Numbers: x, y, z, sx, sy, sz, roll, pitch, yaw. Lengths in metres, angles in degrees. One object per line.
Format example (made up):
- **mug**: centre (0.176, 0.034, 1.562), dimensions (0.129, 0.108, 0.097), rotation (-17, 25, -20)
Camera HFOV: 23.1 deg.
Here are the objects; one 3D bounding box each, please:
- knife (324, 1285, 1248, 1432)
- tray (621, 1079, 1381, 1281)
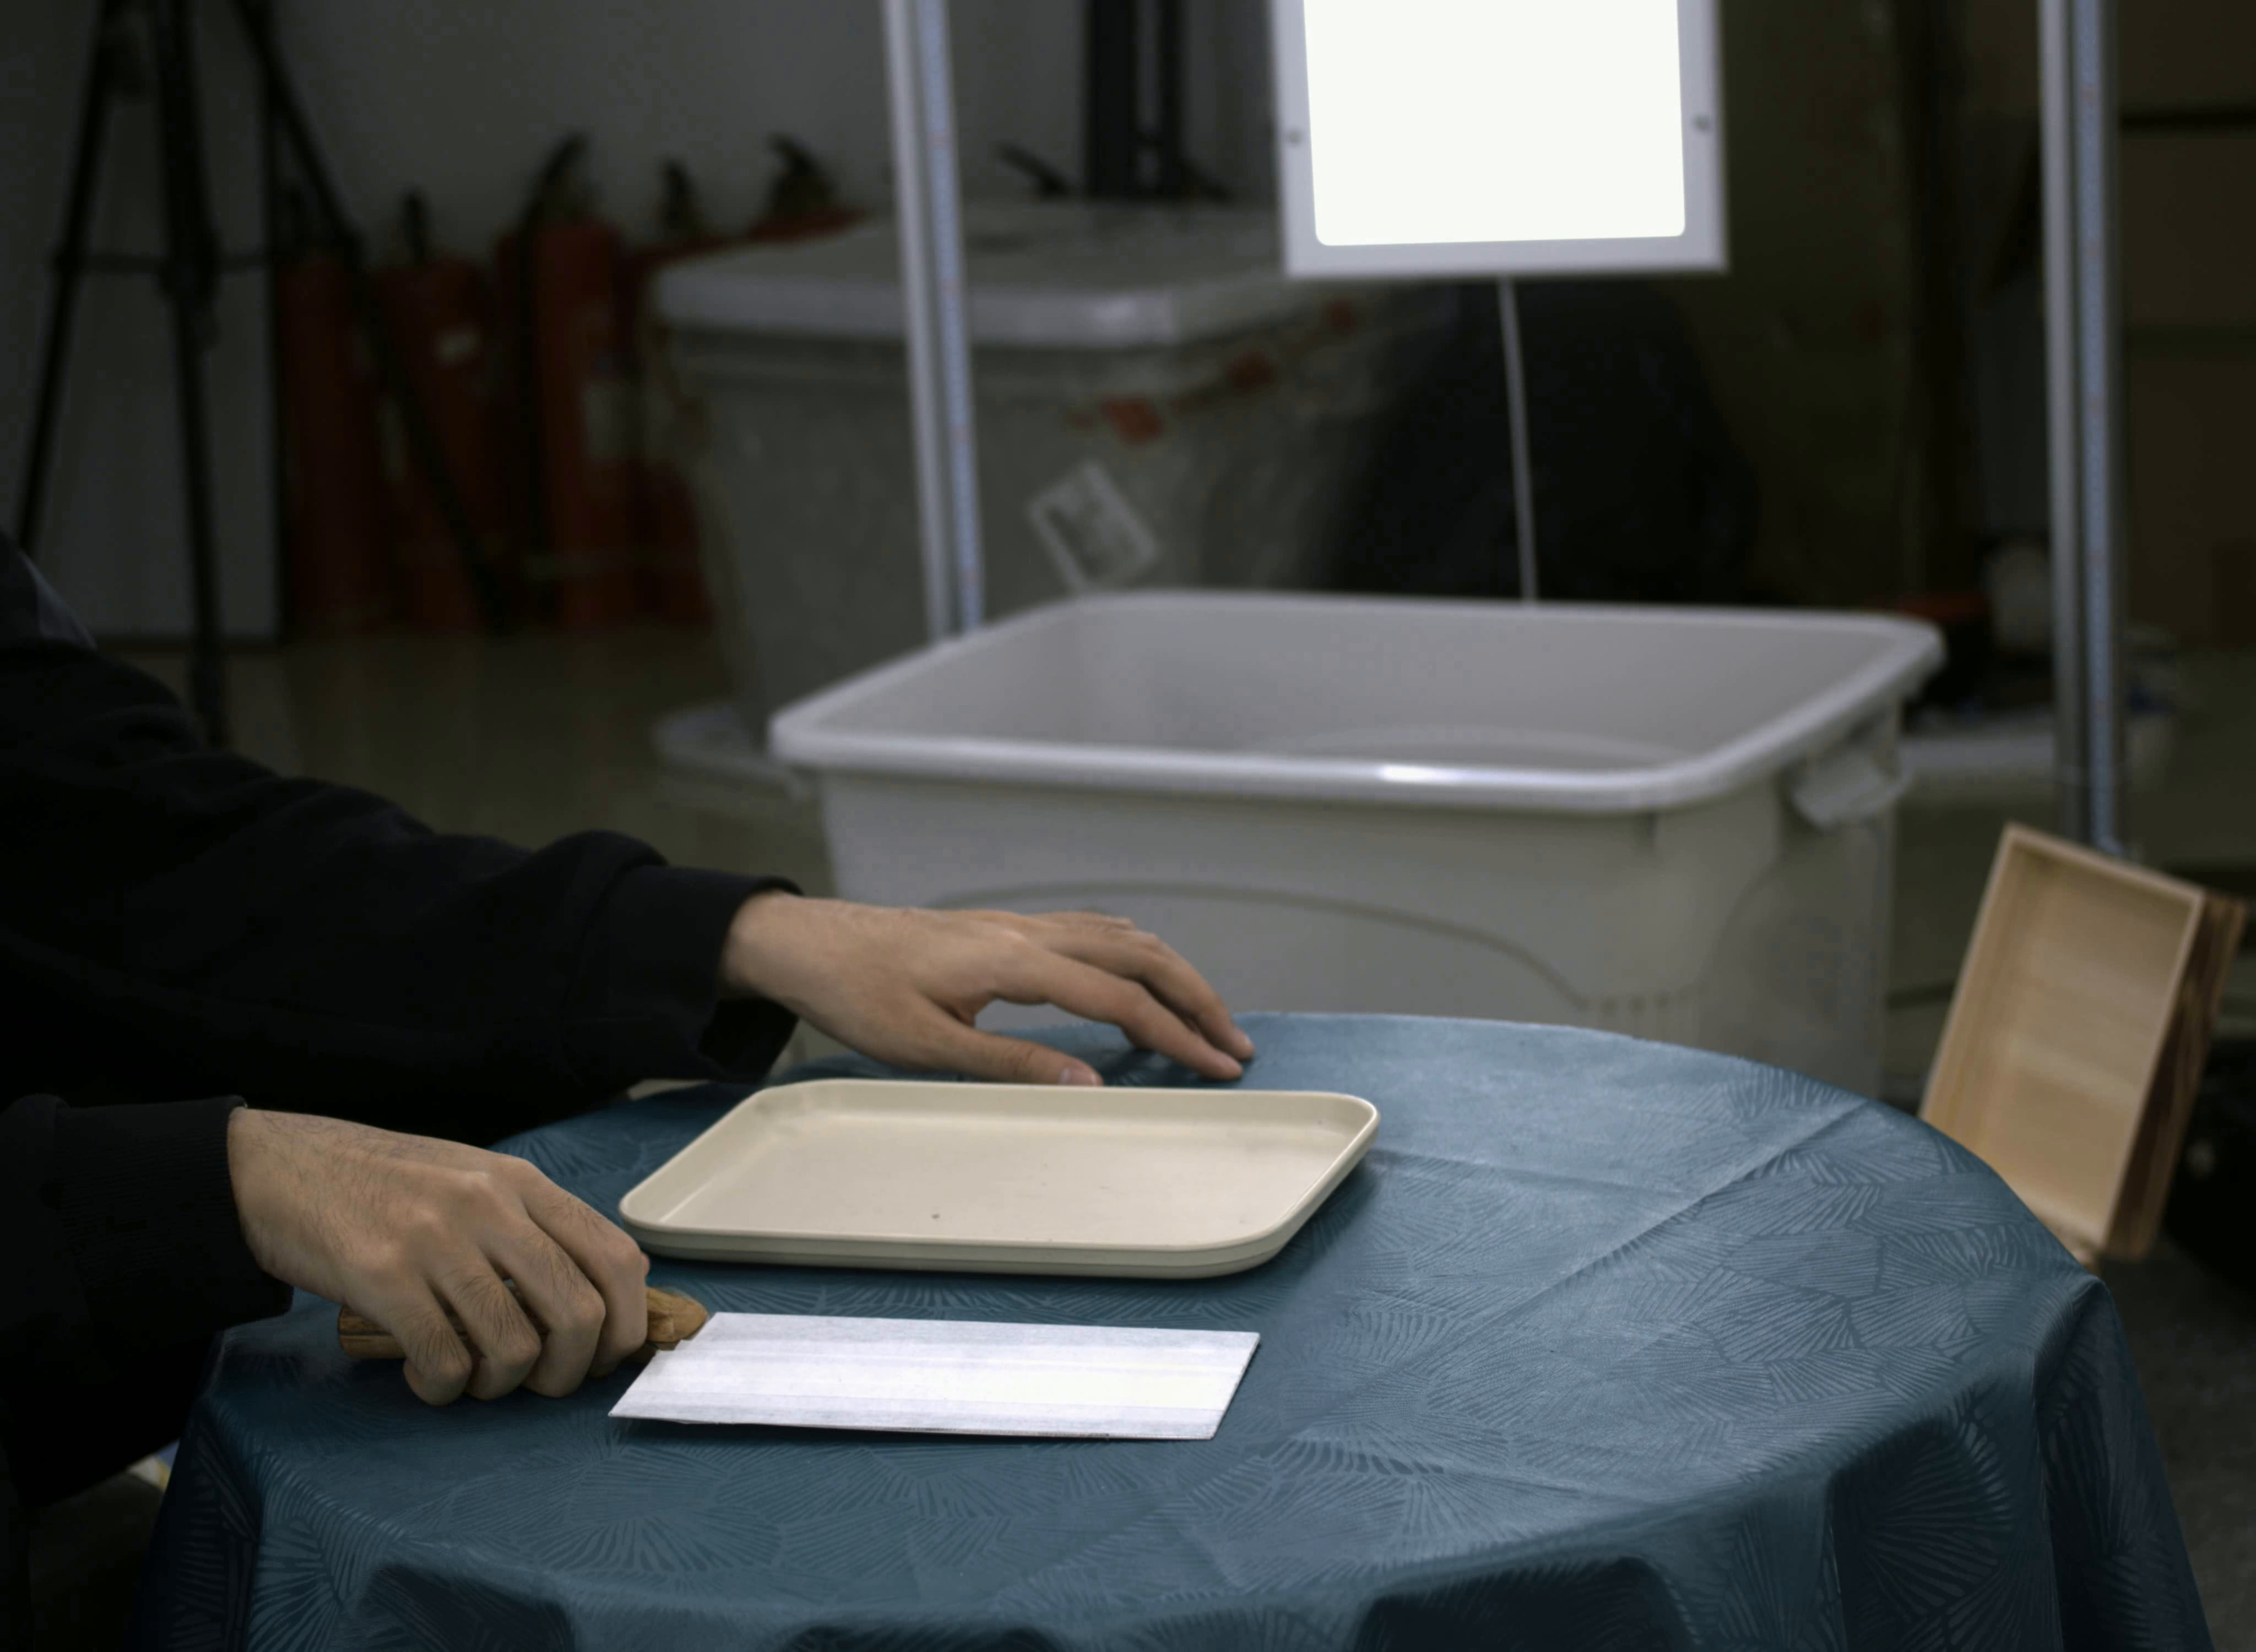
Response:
- **knife**: centre (-0.114, 0.170, 1.732), dimensions (0.308, 0.021, 0.092), rotation (1, 17, 14)
- **tray**: centre (-0.042, 0.121, 1.893), dimensions (0.243, 0.017, 0.168), rotation (0, 16, 21)
